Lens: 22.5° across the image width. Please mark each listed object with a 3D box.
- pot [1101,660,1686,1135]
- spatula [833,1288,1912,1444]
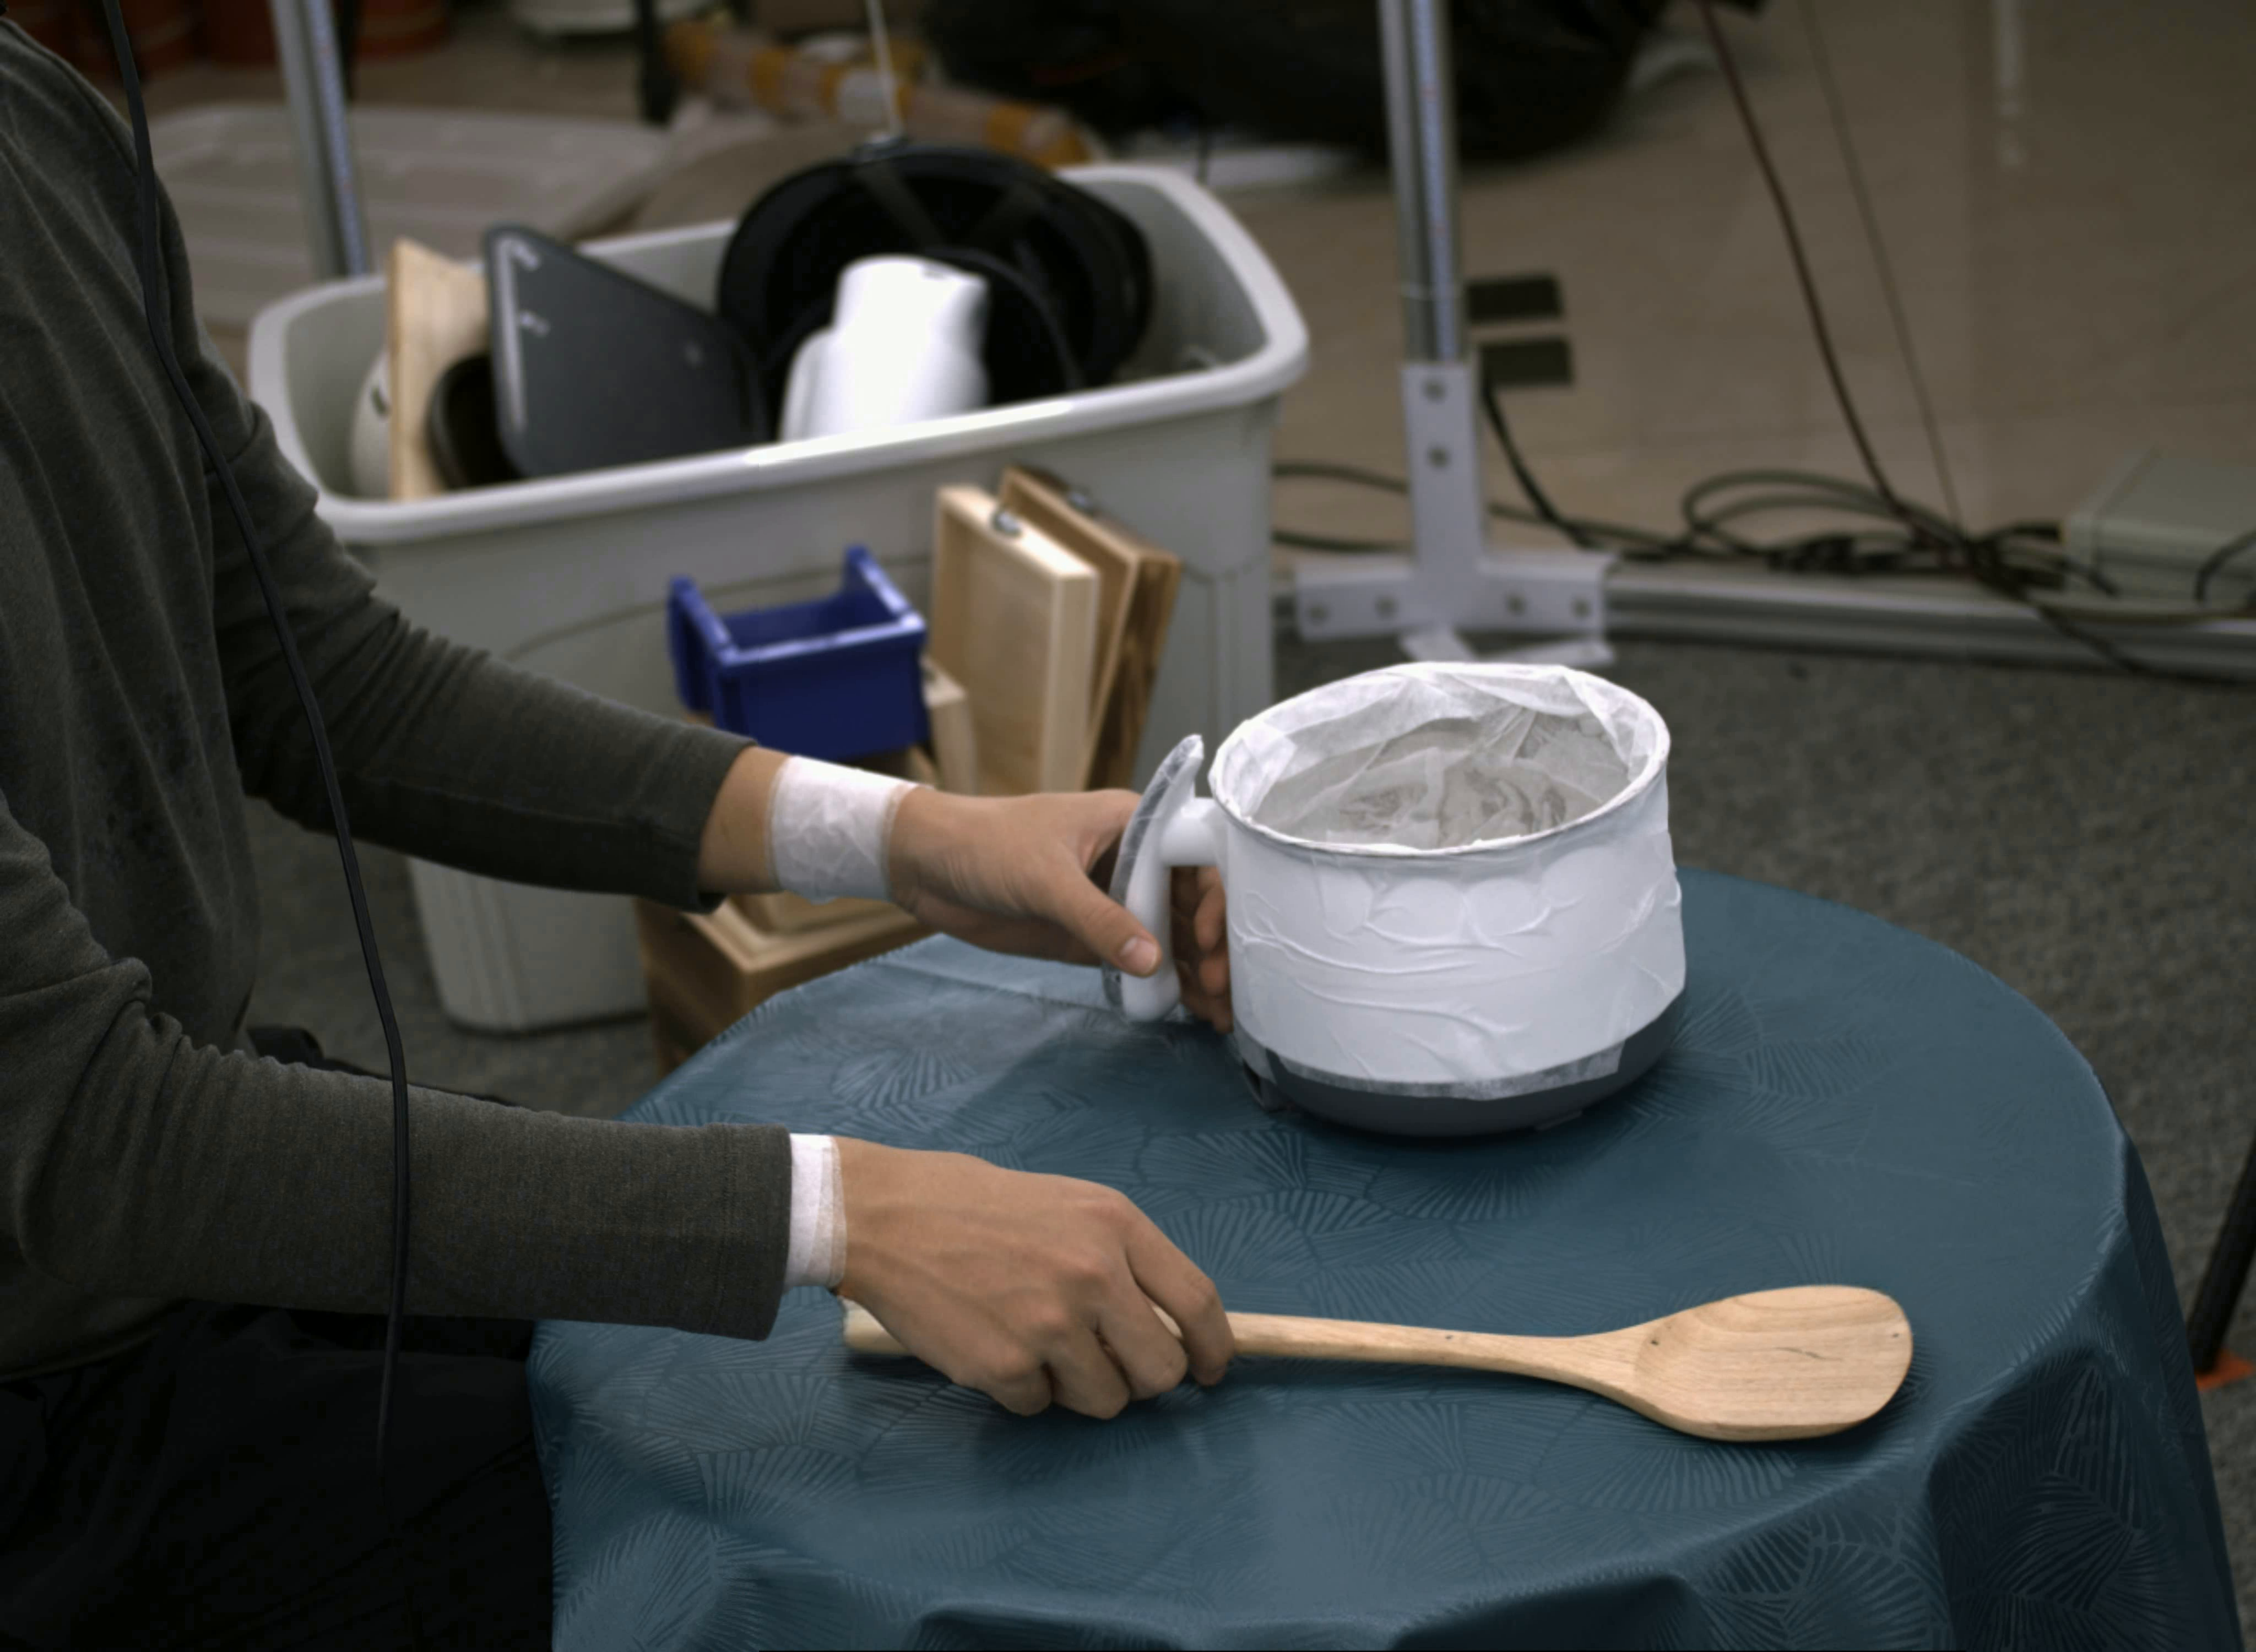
[{"bbox_3d":[0.099,0.028,2.198,0.233,0.139,0.176,2,26,17],"label":"pot"},{"bbox_3d":[0.081,0.186,2.006,0.390,0.019,0.094,1,26,14],"label":"spatula"}]
